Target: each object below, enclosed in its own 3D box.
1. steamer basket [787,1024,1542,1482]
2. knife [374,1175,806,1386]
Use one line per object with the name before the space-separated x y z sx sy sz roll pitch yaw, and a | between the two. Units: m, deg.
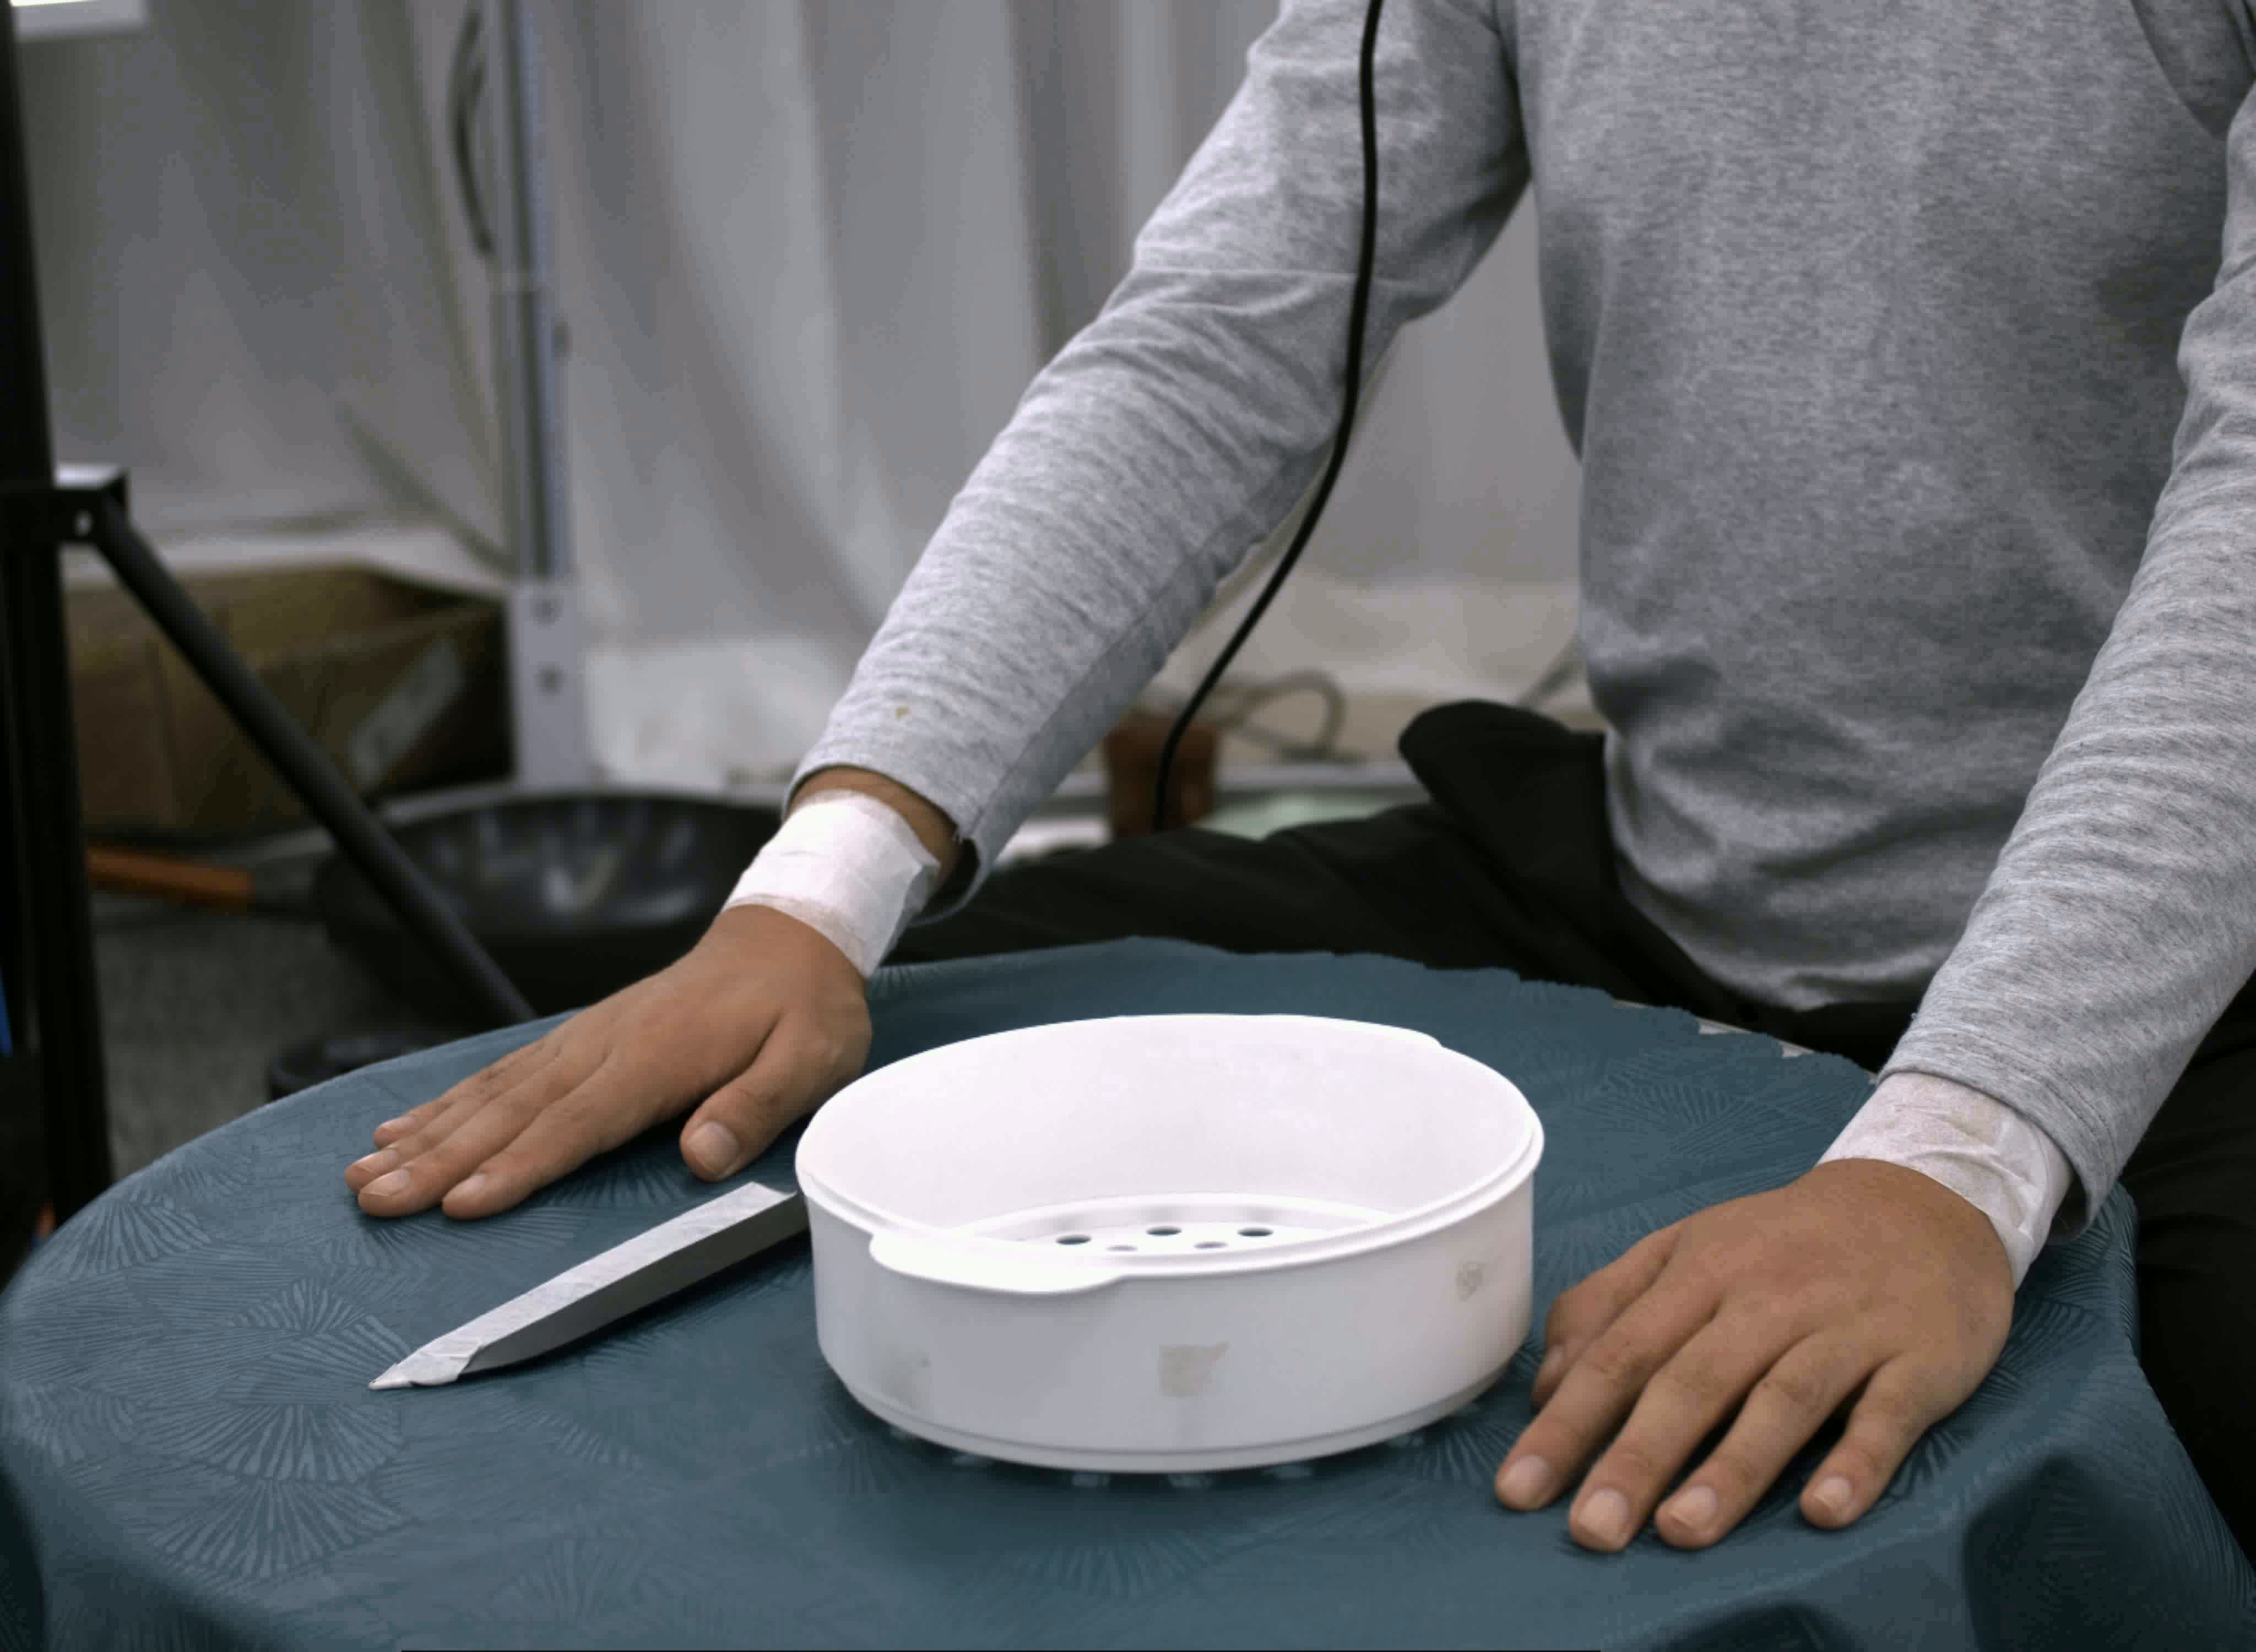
steamer basket | 0.010 0.114 1.419 0.205 0.069 0.226 7 17 29
knife | -0.106 0.113 1.533 0.051 0.020 0.283 5 19 43
